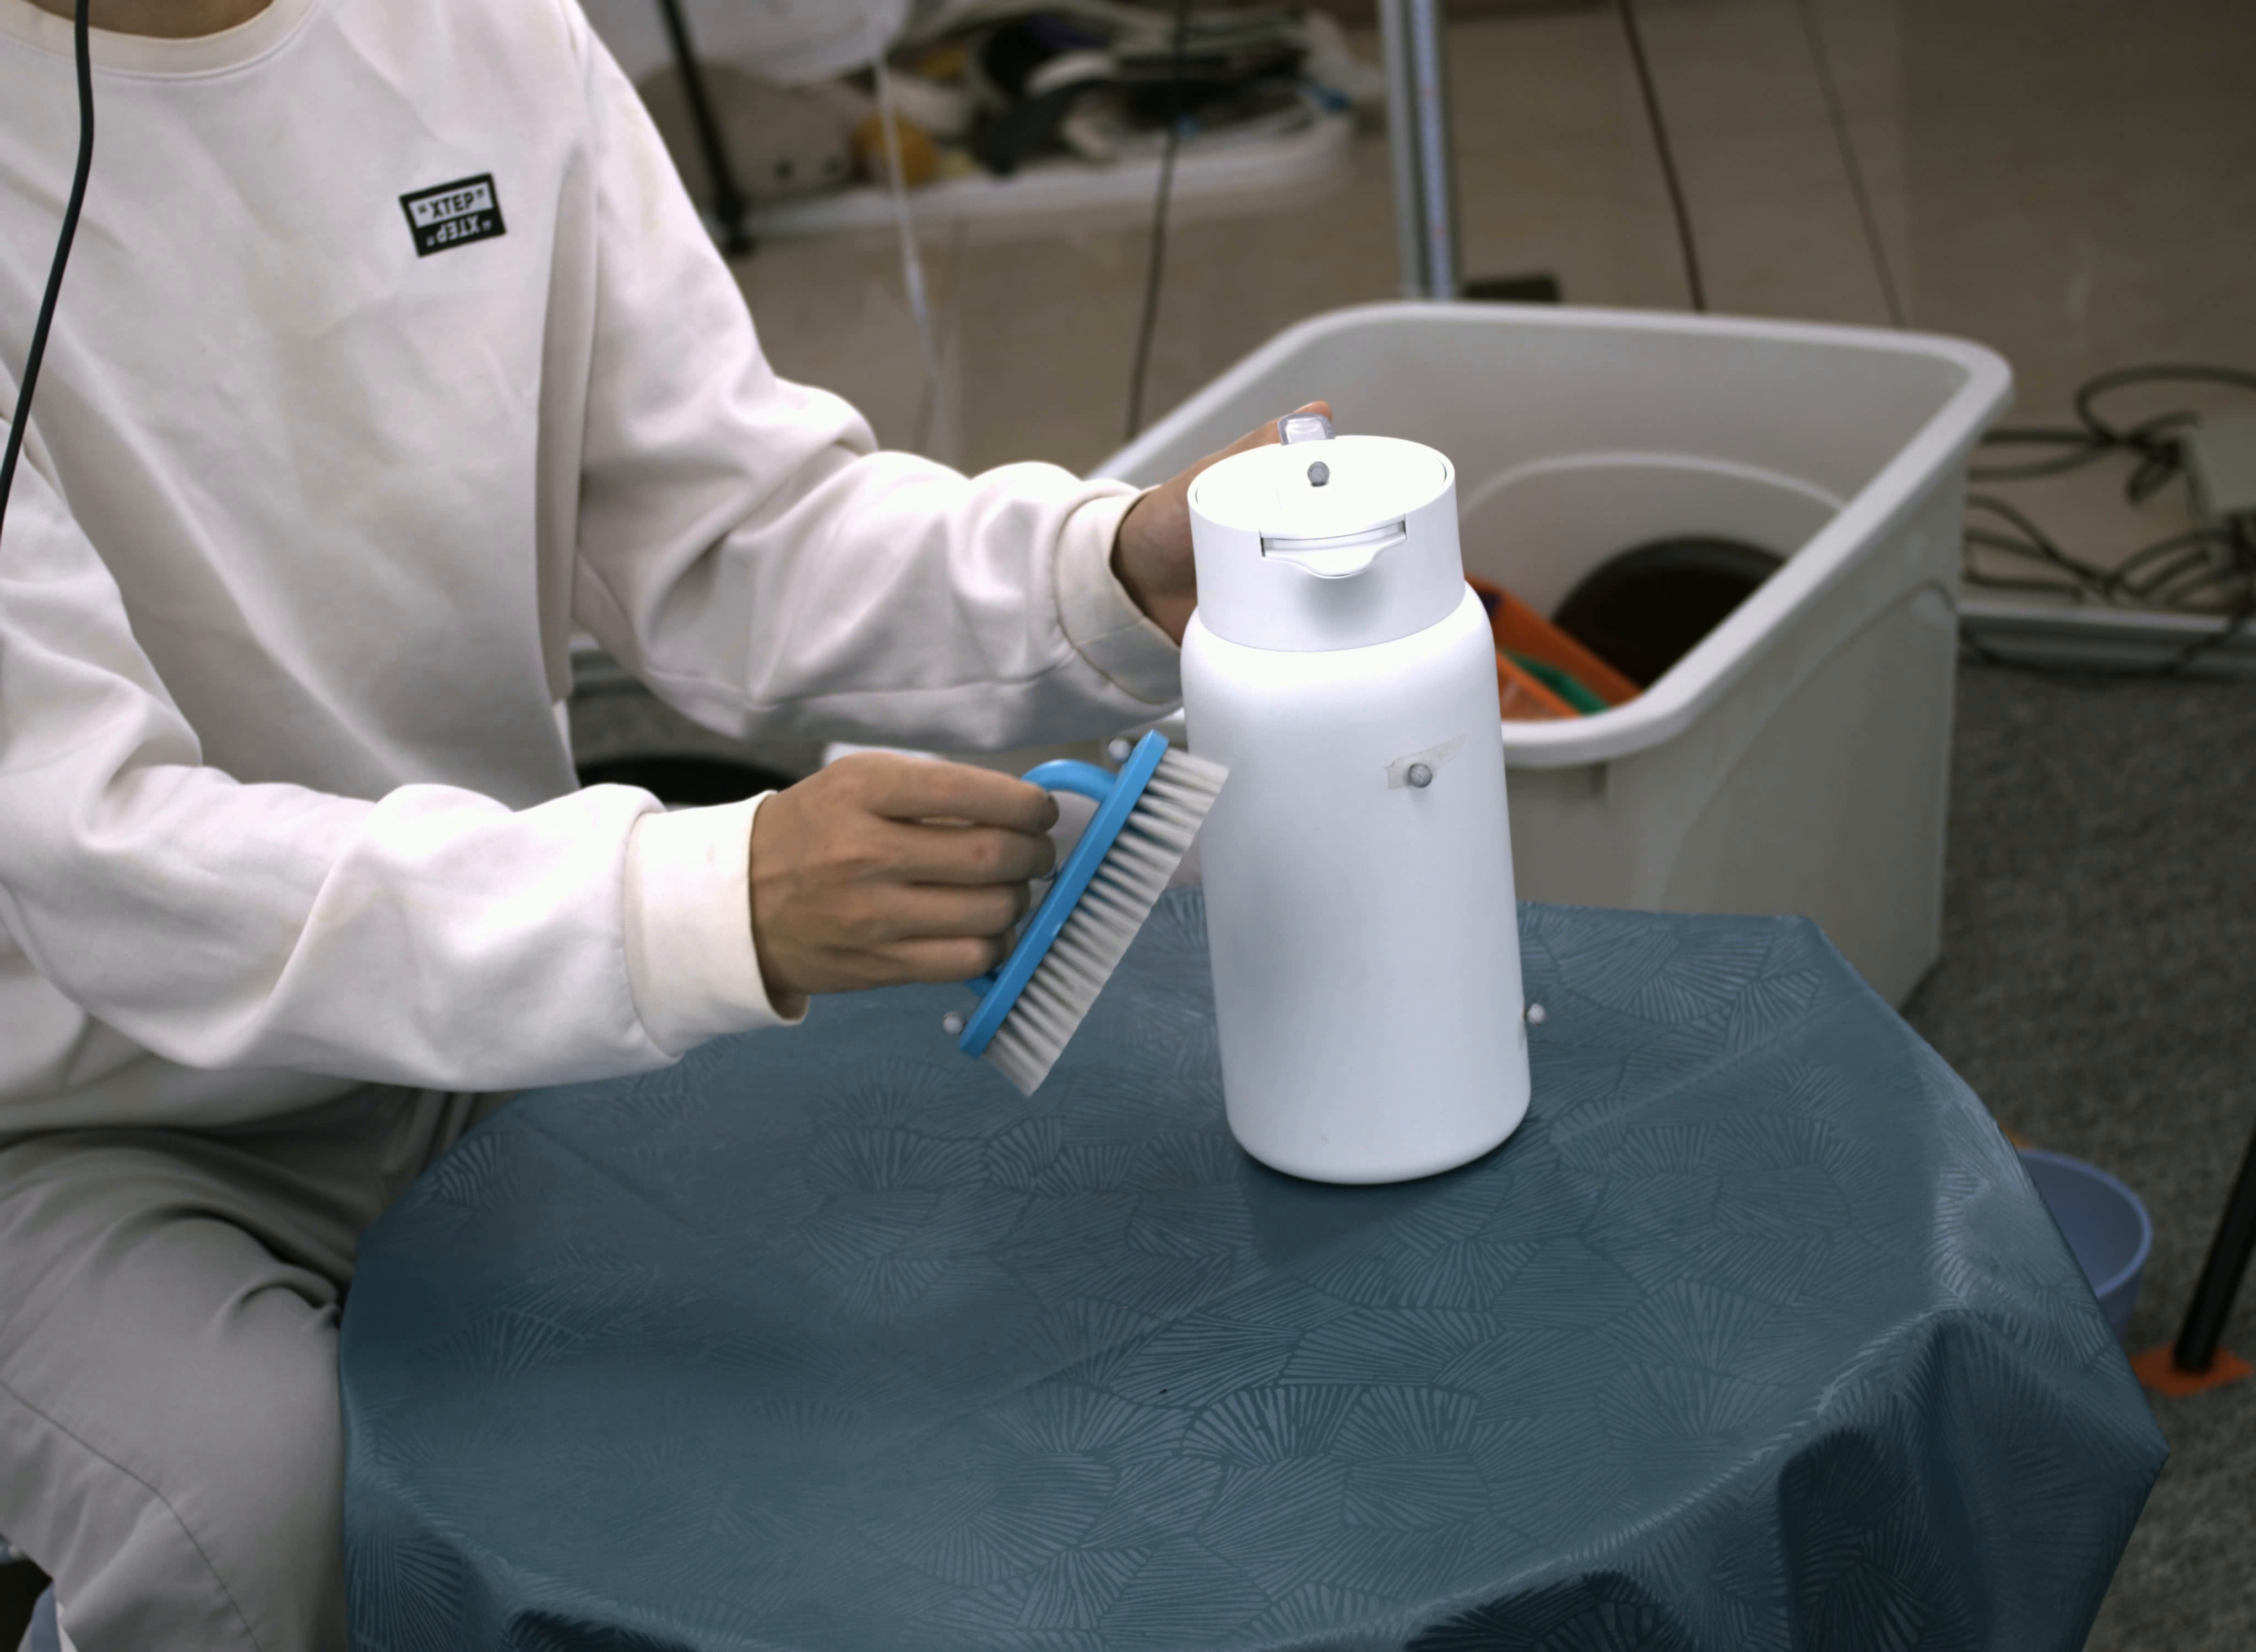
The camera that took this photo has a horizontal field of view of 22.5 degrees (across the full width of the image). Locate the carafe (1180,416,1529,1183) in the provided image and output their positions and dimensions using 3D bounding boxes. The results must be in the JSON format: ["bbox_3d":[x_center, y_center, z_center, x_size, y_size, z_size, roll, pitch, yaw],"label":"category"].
[{"bbox_3d":[0.081,-0.014,2.134,0.123,0.273,0.170,-9,25,-1],"label":"carafe"}]

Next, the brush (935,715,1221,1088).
[{"bbox_3d":[-0.027,0.021,2.020,0.064,0.143,0.083,28,21,-7],"label":"brush"}]
